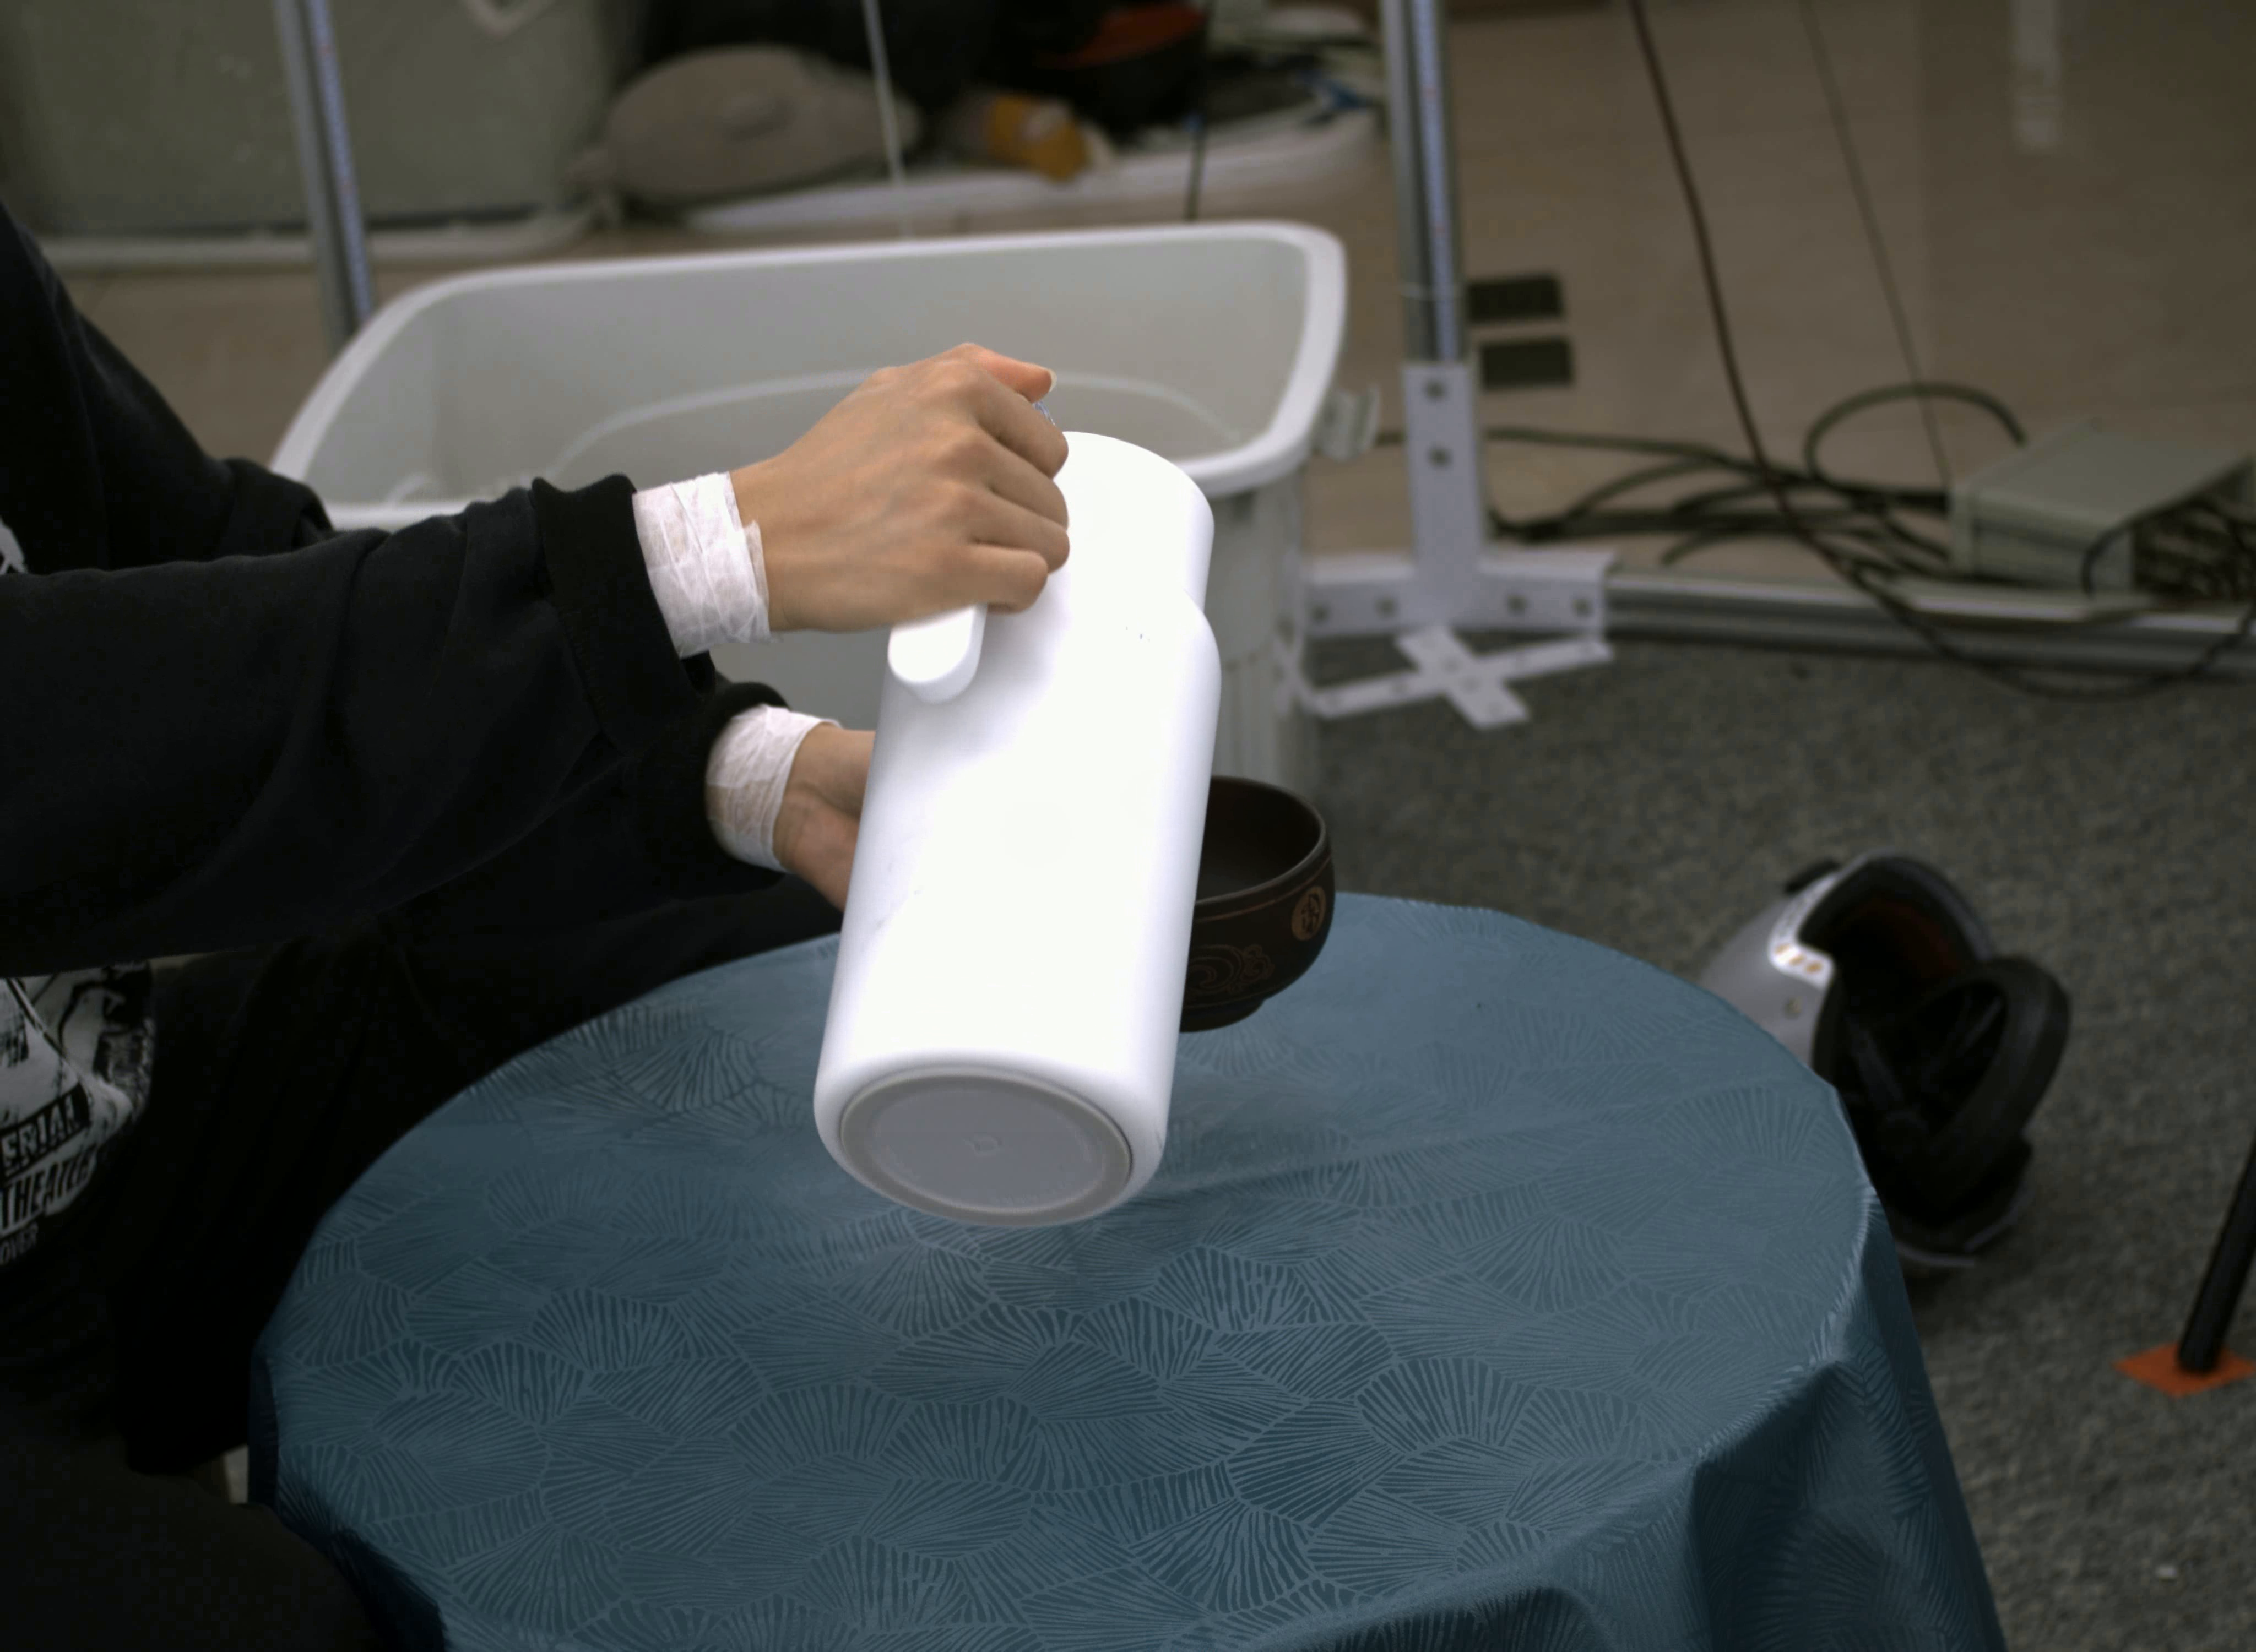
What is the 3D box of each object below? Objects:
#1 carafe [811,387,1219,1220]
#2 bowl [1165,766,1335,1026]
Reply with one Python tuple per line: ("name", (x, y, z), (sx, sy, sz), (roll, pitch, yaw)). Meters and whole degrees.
("carafe", (-0.037, -0.015, 1.924), (0.123, 0.176, 0.264), (-3, 54, 19))
("bowl", (0.021, 0.032, 2.141), (0.118, 0.071, 0.116), (-5, 26, 2))
